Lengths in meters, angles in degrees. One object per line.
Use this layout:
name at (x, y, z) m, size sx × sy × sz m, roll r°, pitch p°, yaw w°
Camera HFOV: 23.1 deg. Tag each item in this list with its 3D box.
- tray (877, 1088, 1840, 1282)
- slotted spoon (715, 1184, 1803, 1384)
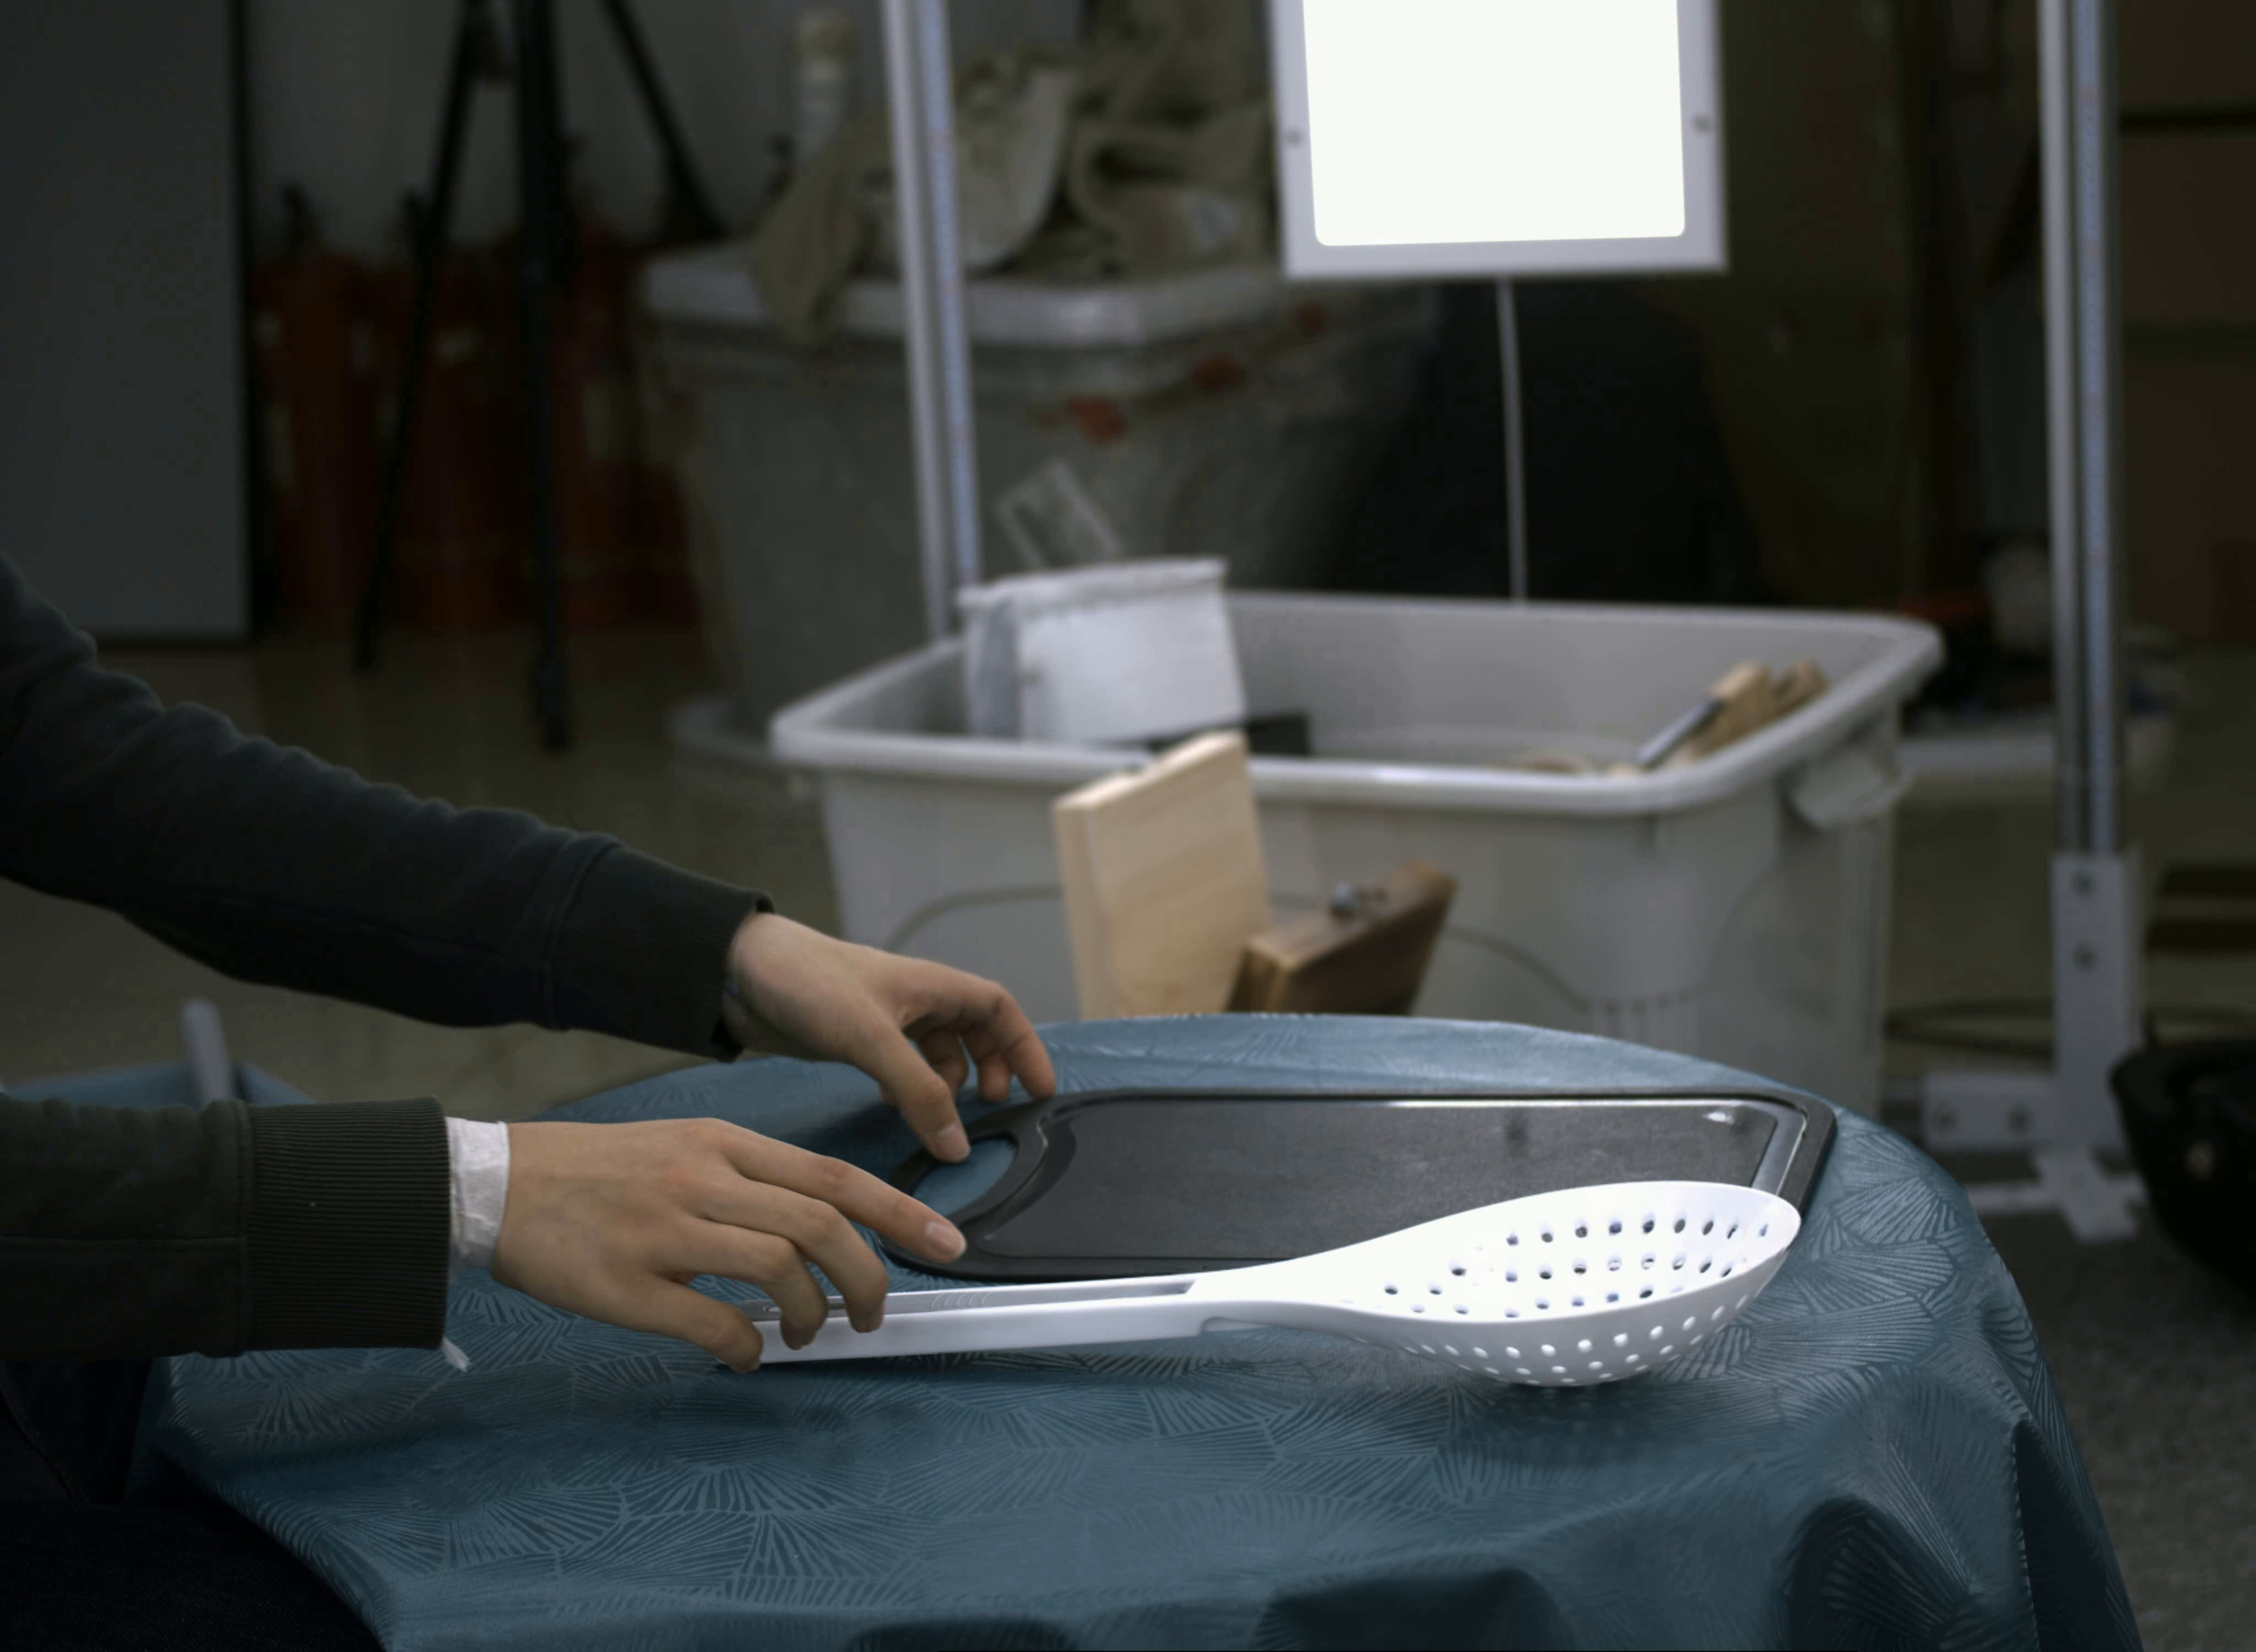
tray at (0.076, 0.120, 1.883) m, size 0.329 × 0.010 × 0.208 m, roll -1°, pitch 14°, yaw 17°
slotted spoon at (0.037, 0.146, 1.708) m, size 0.354 × 0.046 × 0.134 m, roll -1°, pitch 12°, yaw 18°
